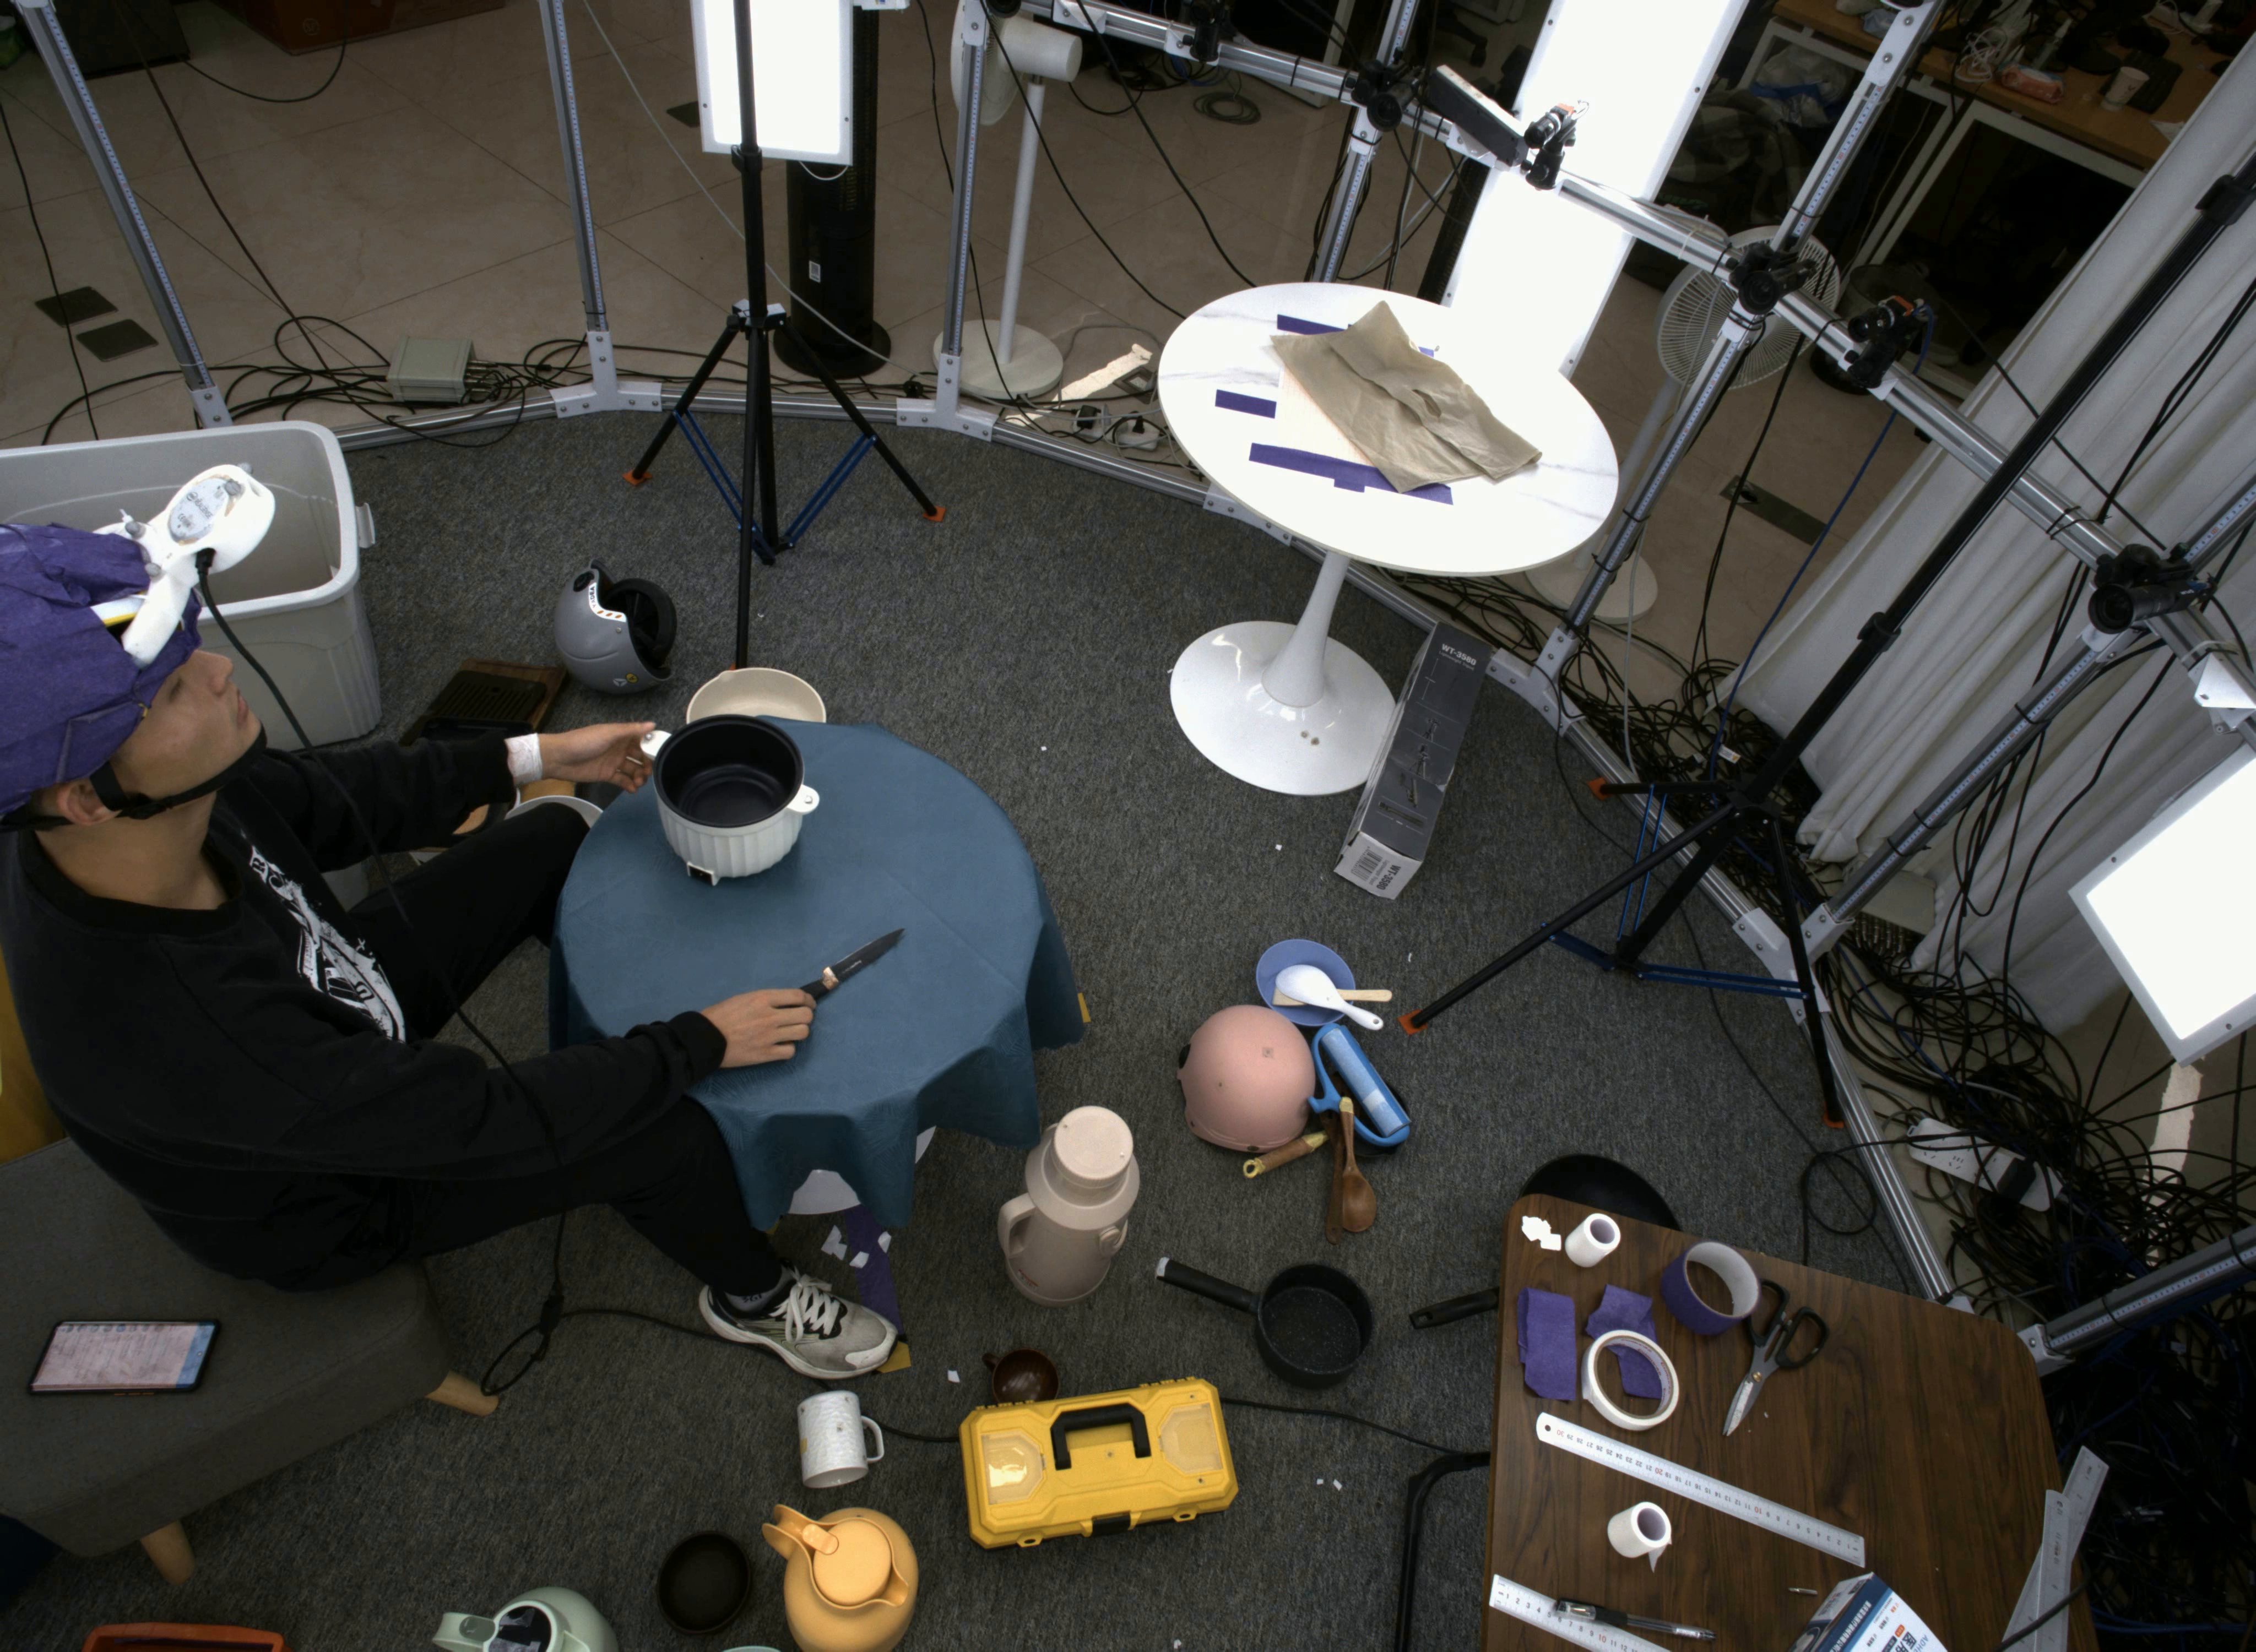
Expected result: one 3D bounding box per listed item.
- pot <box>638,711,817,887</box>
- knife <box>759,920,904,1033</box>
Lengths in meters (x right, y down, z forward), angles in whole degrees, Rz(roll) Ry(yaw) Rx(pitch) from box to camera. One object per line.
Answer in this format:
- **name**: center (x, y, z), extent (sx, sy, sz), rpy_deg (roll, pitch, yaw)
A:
- **pot**: center (-0.503, -0.037, 1.638), extent (0.238, 0.145, 0.189), rpy_deg (21, 54, 1)
- **knife**: center (-0.359, 0.180, 1.592), extent (0.226, 0.017, 0.026), rpy_deg (-36, 86, -32)
